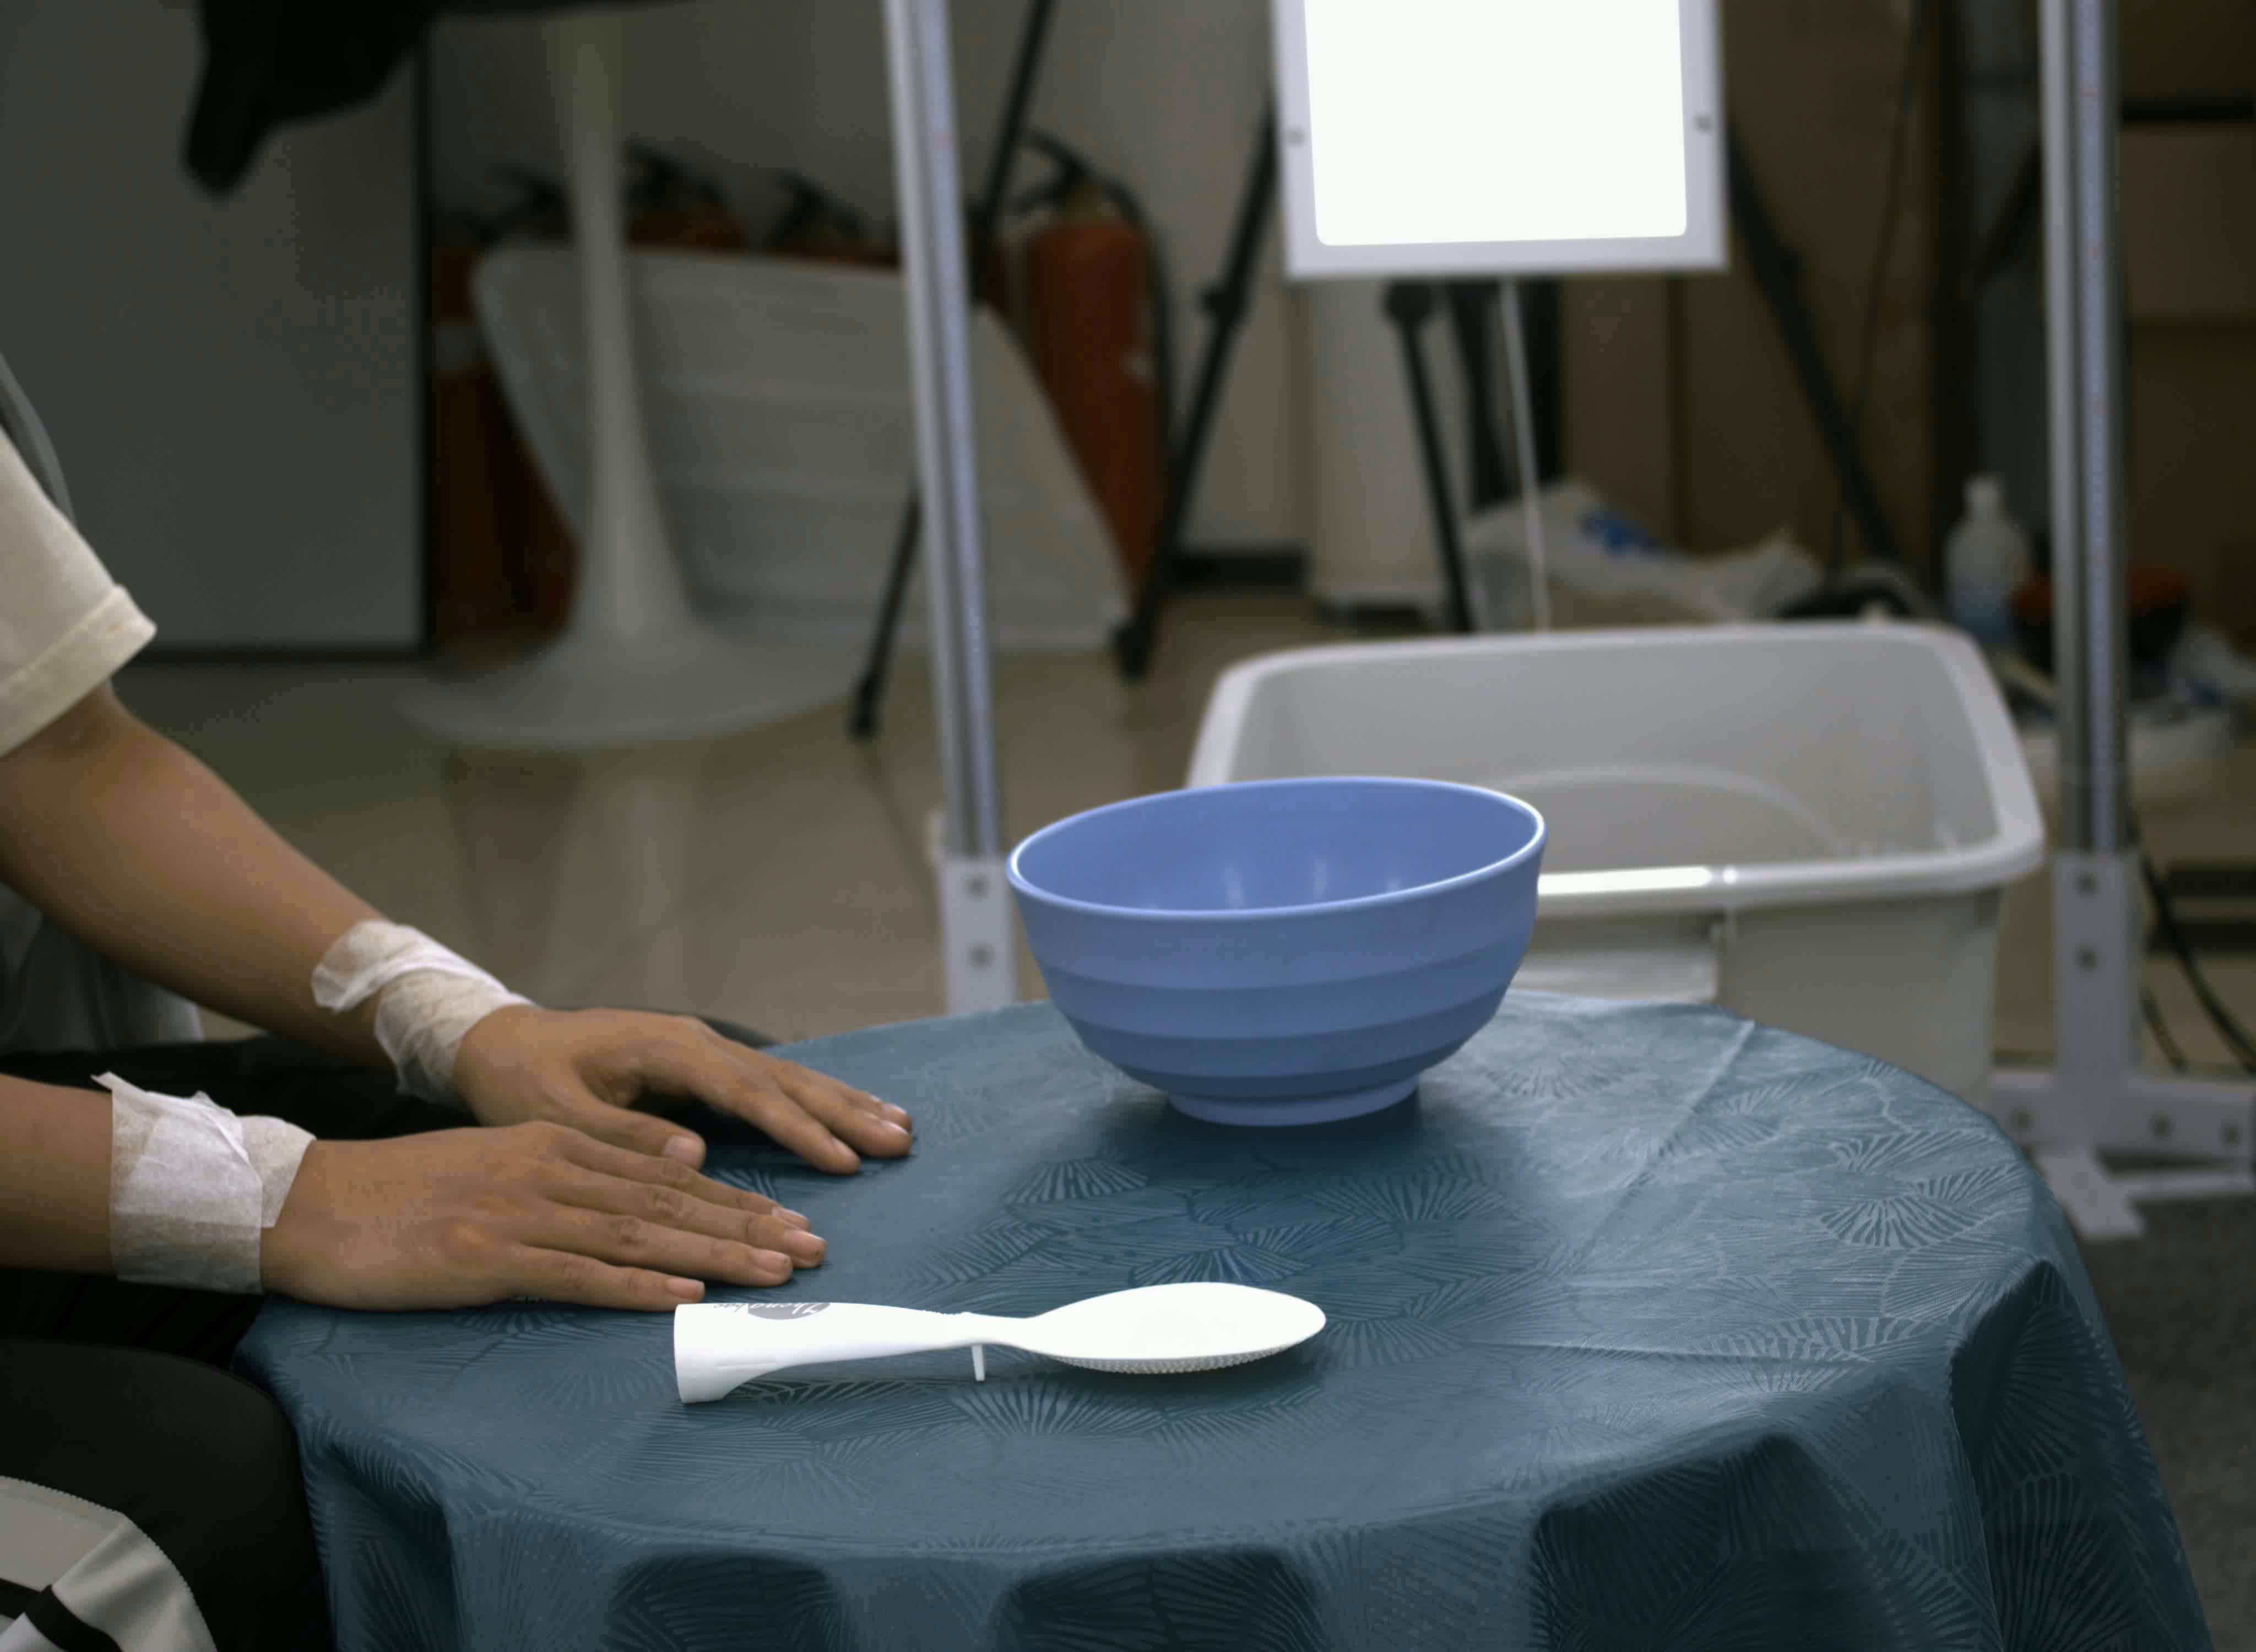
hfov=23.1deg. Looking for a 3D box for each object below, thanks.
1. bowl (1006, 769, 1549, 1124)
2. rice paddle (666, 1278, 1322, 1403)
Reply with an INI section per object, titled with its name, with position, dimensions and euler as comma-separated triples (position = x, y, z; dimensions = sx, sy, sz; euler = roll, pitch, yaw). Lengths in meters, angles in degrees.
[bowl]
position = 0.056, 0.049, 1.987
dimensions = 0.196, 0.096, 0.196
euler = -4, 15, 0
[rice paddle]
position = -0.041, 0.157, 1.721
dimensions = 0.205, 0.029, 0.068
euler = -4, 15, 4
